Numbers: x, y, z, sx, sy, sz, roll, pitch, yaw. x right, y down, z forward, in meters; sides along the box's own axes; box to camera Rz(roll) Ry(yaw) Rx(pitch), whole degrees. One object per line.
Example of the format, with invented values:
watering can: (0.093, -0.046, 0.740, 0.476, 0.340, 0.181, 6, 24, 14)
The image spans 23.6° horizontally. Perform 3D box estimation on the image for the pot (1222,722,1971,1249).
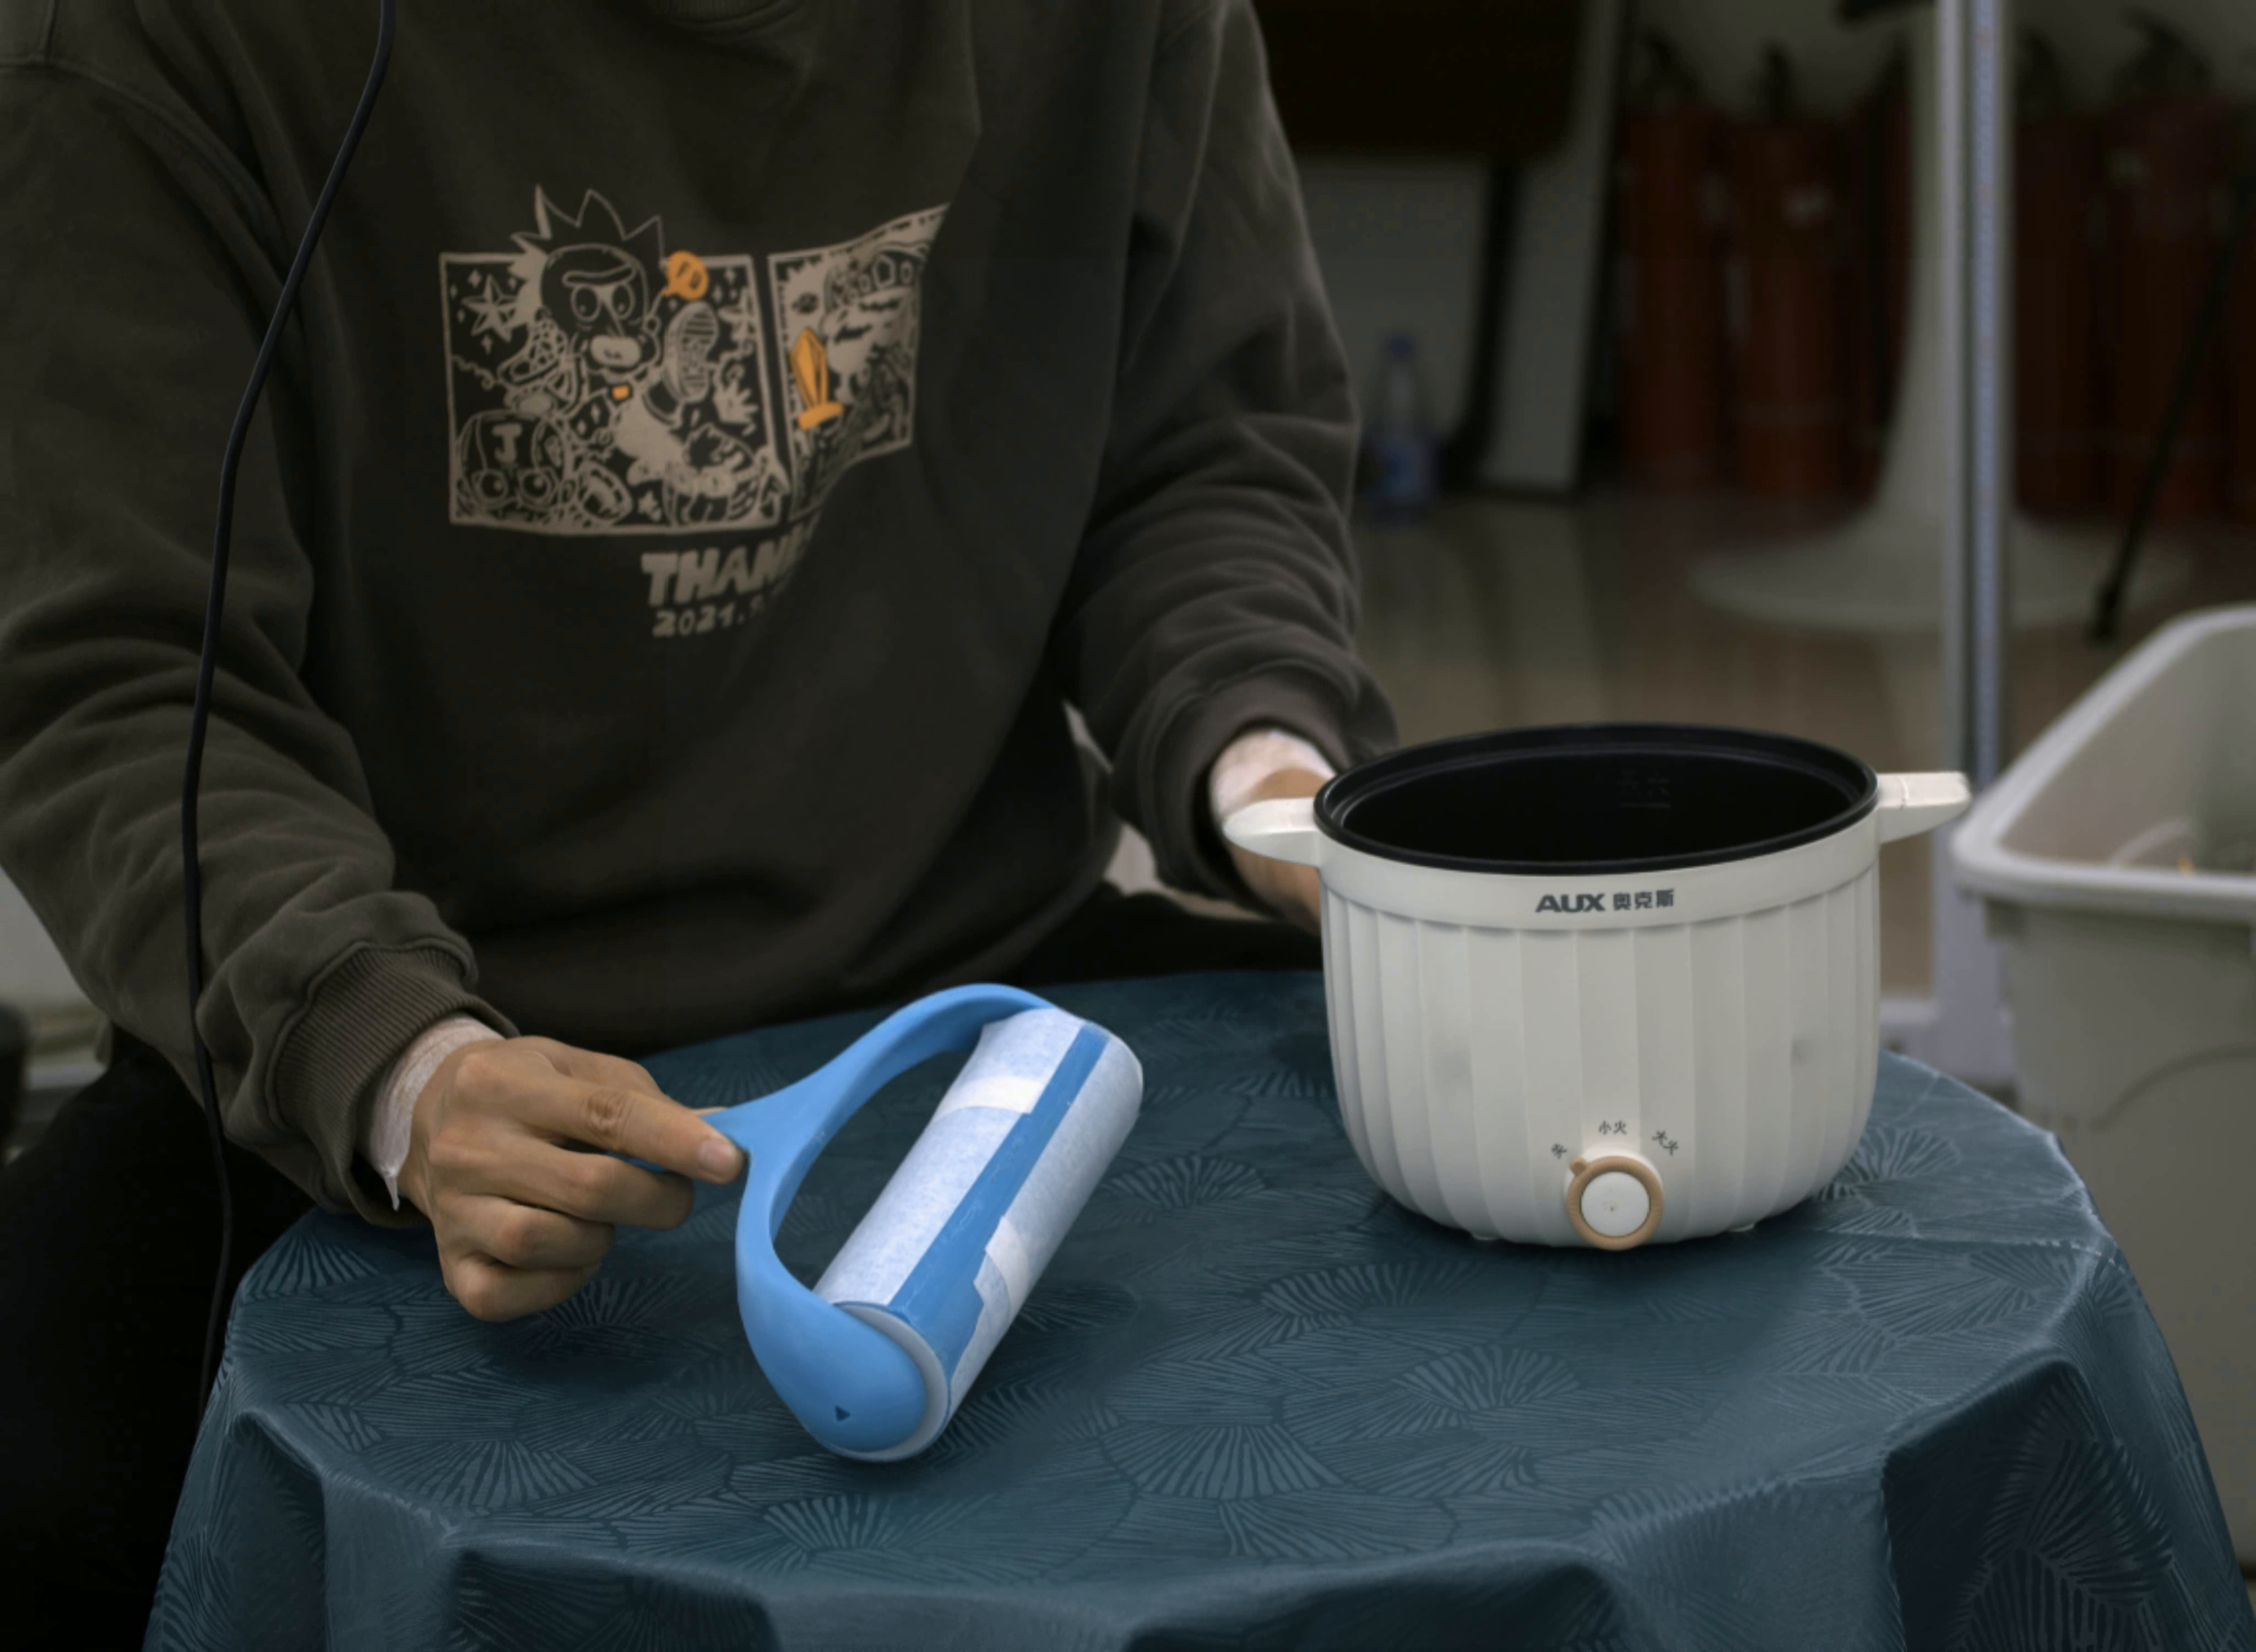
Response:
pot: (0.153, 0.053, 1.715, 0.238, 0.144, 0.190, -4, 10, 5)

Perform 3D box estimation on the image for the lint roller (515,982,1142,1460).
lint roller: (-0.104, 0.114, 1.626, 0.179, 0.068, 0.228, 3, 26, 15)
